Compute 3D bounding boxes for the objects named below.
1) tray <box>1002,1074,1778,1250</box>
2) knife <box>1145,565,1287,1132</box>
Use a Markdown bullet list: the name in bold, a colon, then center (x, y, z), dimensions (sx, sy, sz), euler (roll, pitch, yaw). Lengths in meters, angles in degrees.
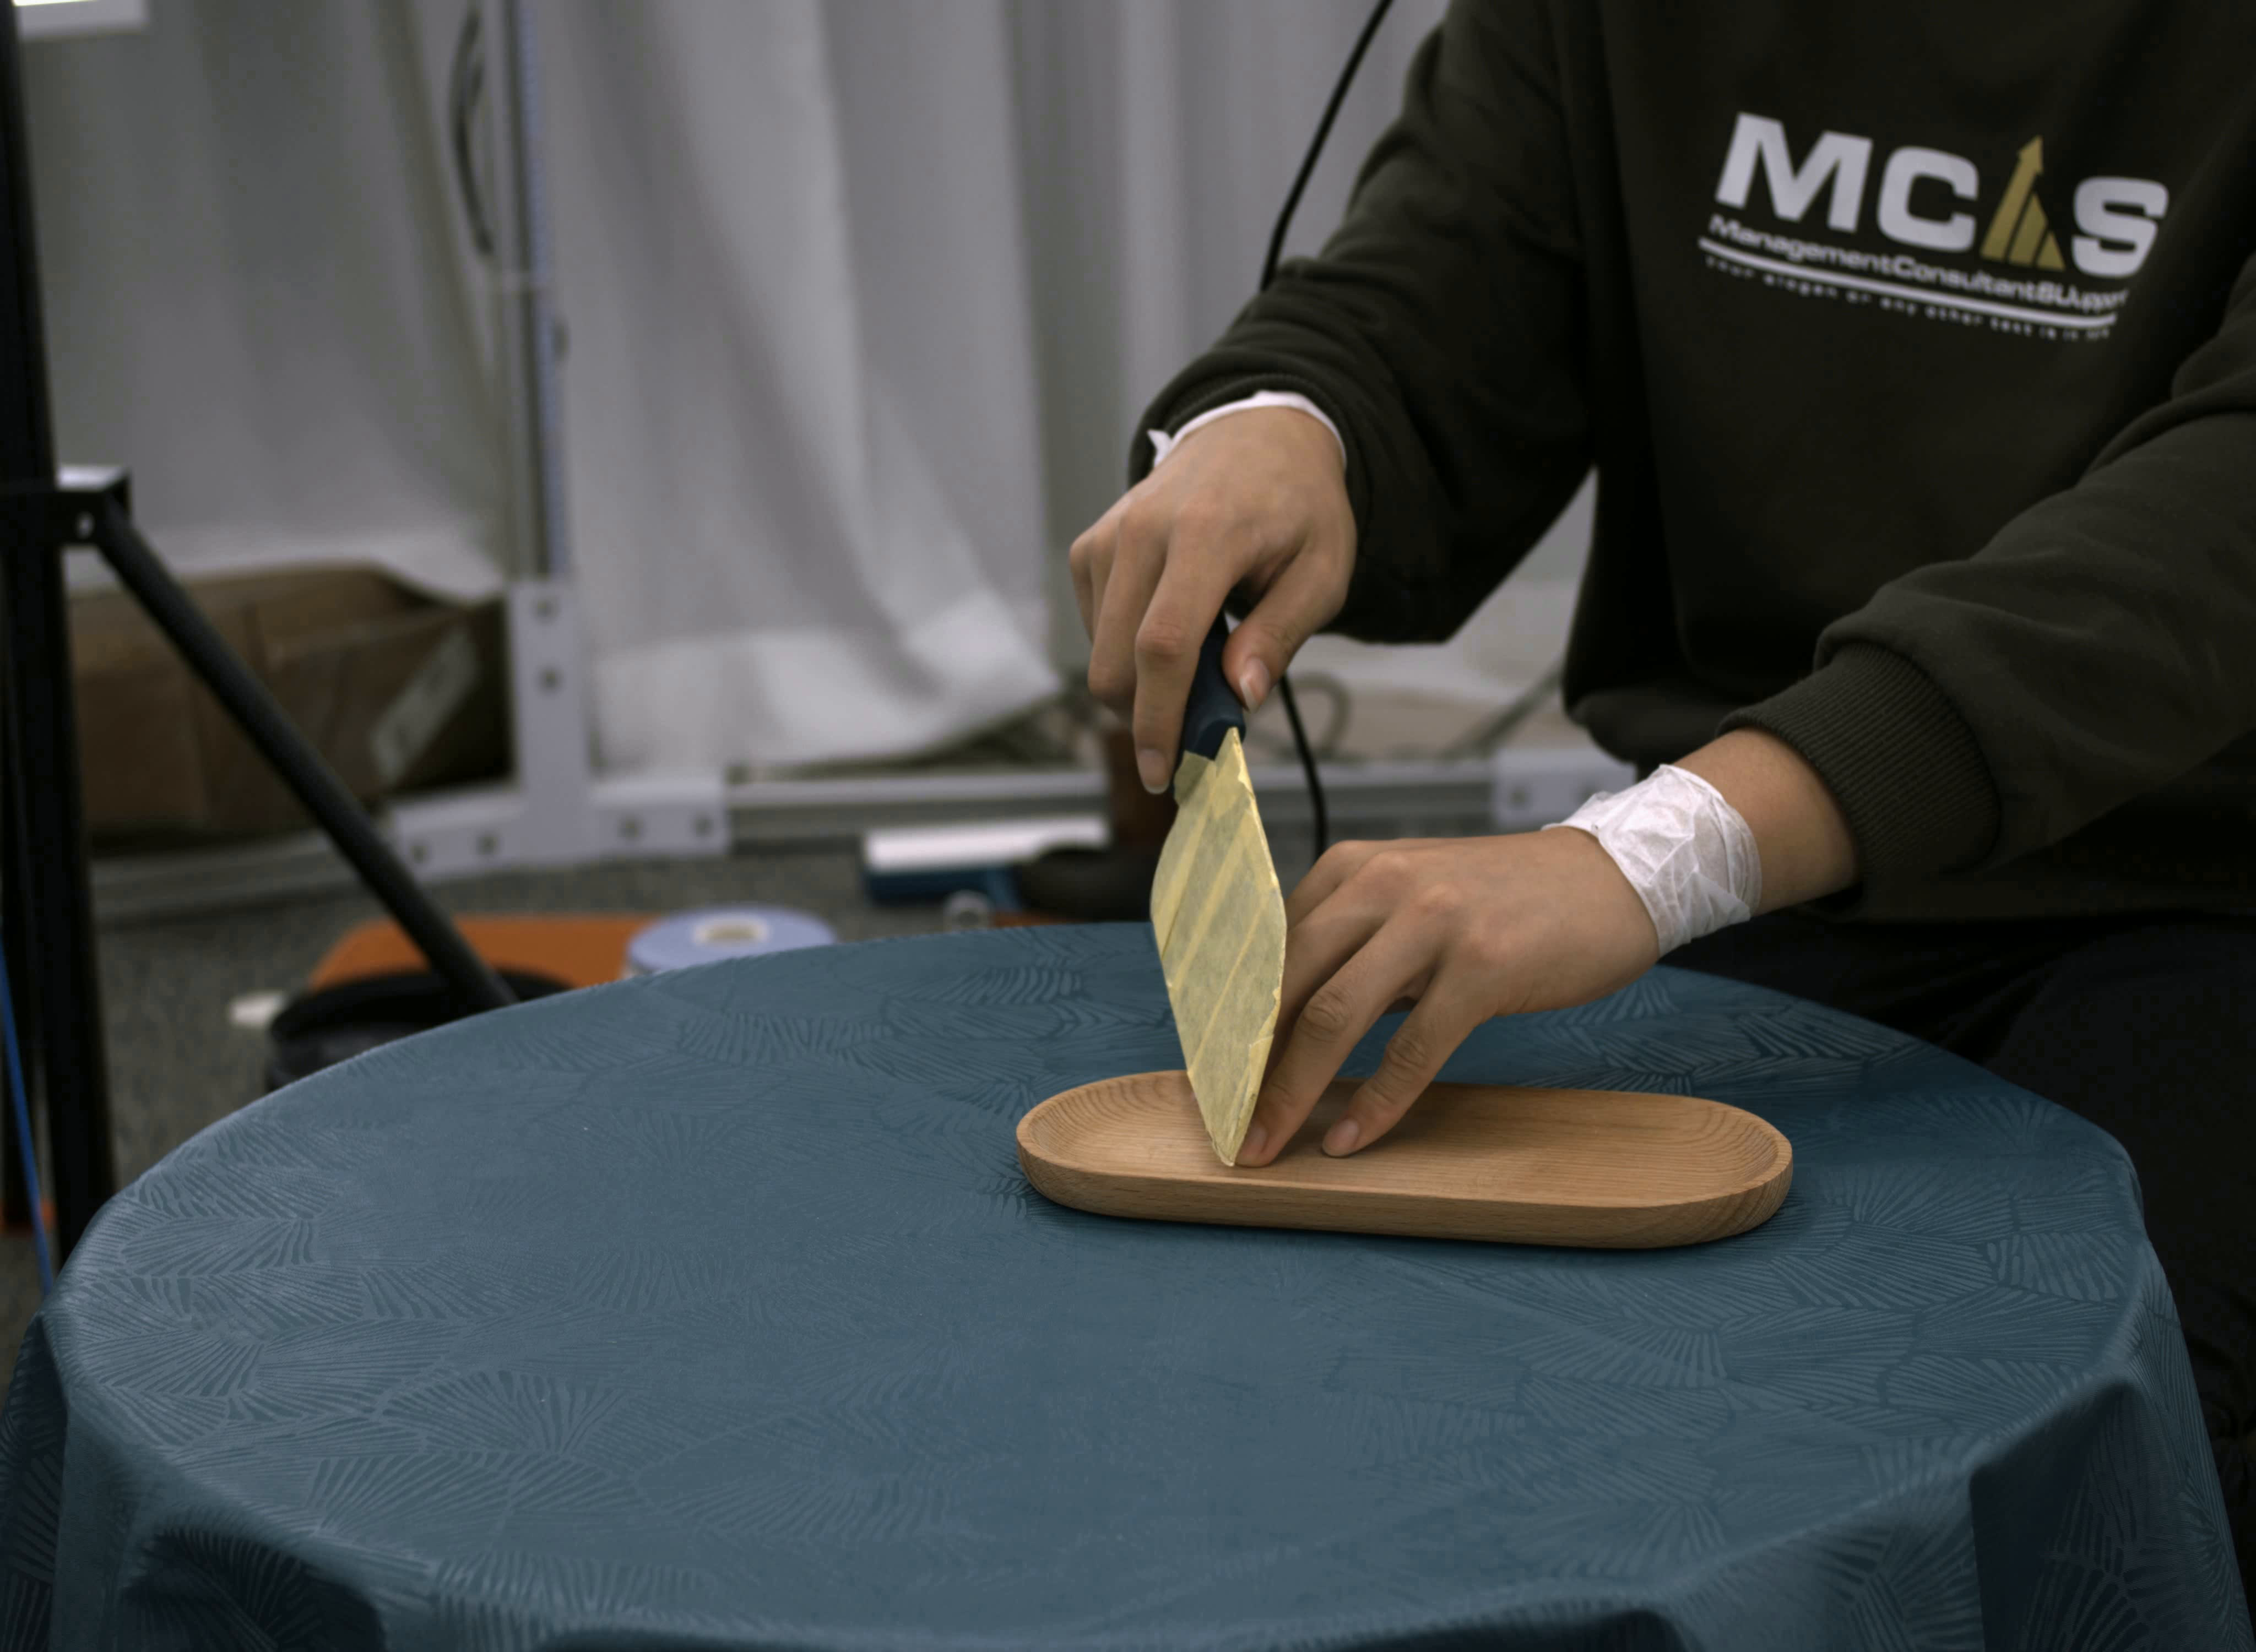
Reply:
- **tray**: center (0.076, 0.099, 1.555), dimensions (0.233, 0.020, 0.100), euler (1, 15, 18)
- **knife**: center (0.024, 0.003, 1.653), dimensions (0.027, 0.081, 0.292), euler (18, 29, -15)
